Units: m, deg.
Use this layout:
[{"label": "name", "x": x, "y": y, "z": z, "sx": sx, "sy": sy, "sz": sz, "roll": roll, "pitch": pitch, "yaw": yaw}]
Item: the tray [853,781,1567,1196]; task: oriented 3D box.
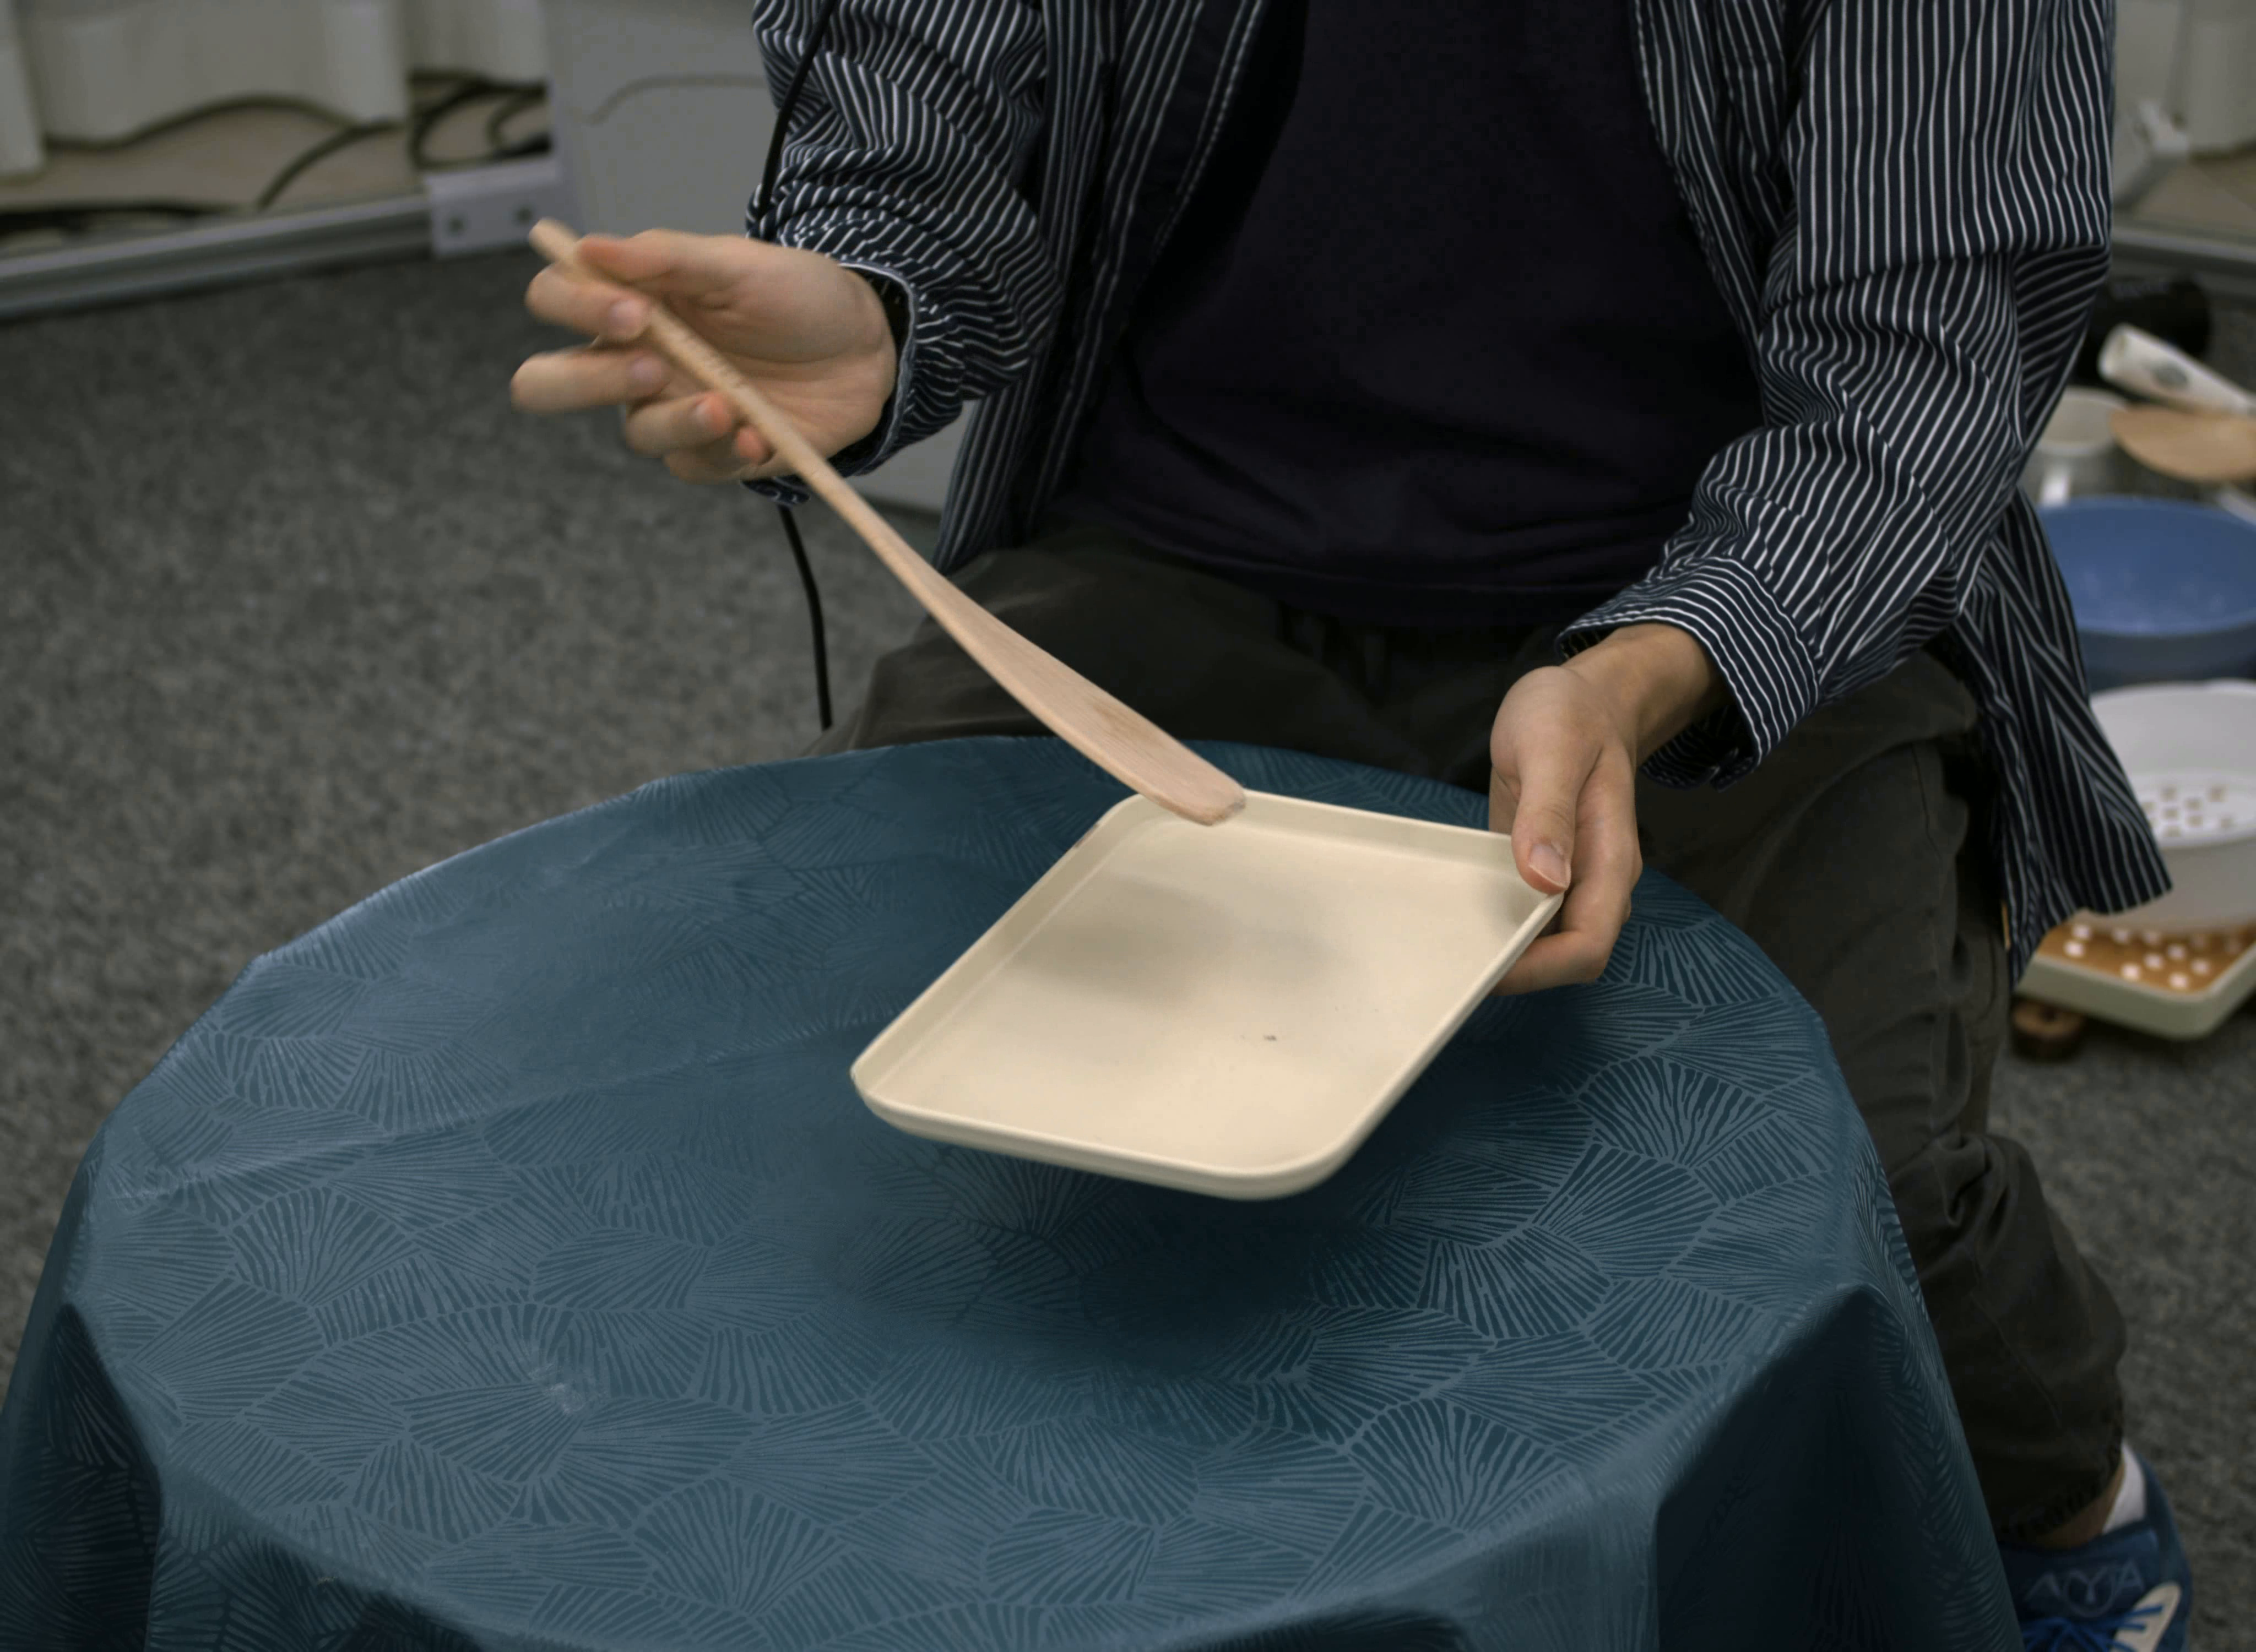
[{"label": "tray", "x": 0.030, "y": 0.052, "z": 1.840, "sx": 0.170, "sy": 0.017, "sz": 0.243, "roll": 10, "pitch": 29, "yaw": 25}]

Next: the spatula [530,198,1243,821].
[{"label": "spatula", "x": -0.083, "y": -0.106, "z": 1.883, "sx": 0.328, "sy": 0.016, "sz": 0.080, "roll": 43, "pitch": 14, "yaw": 14}]
